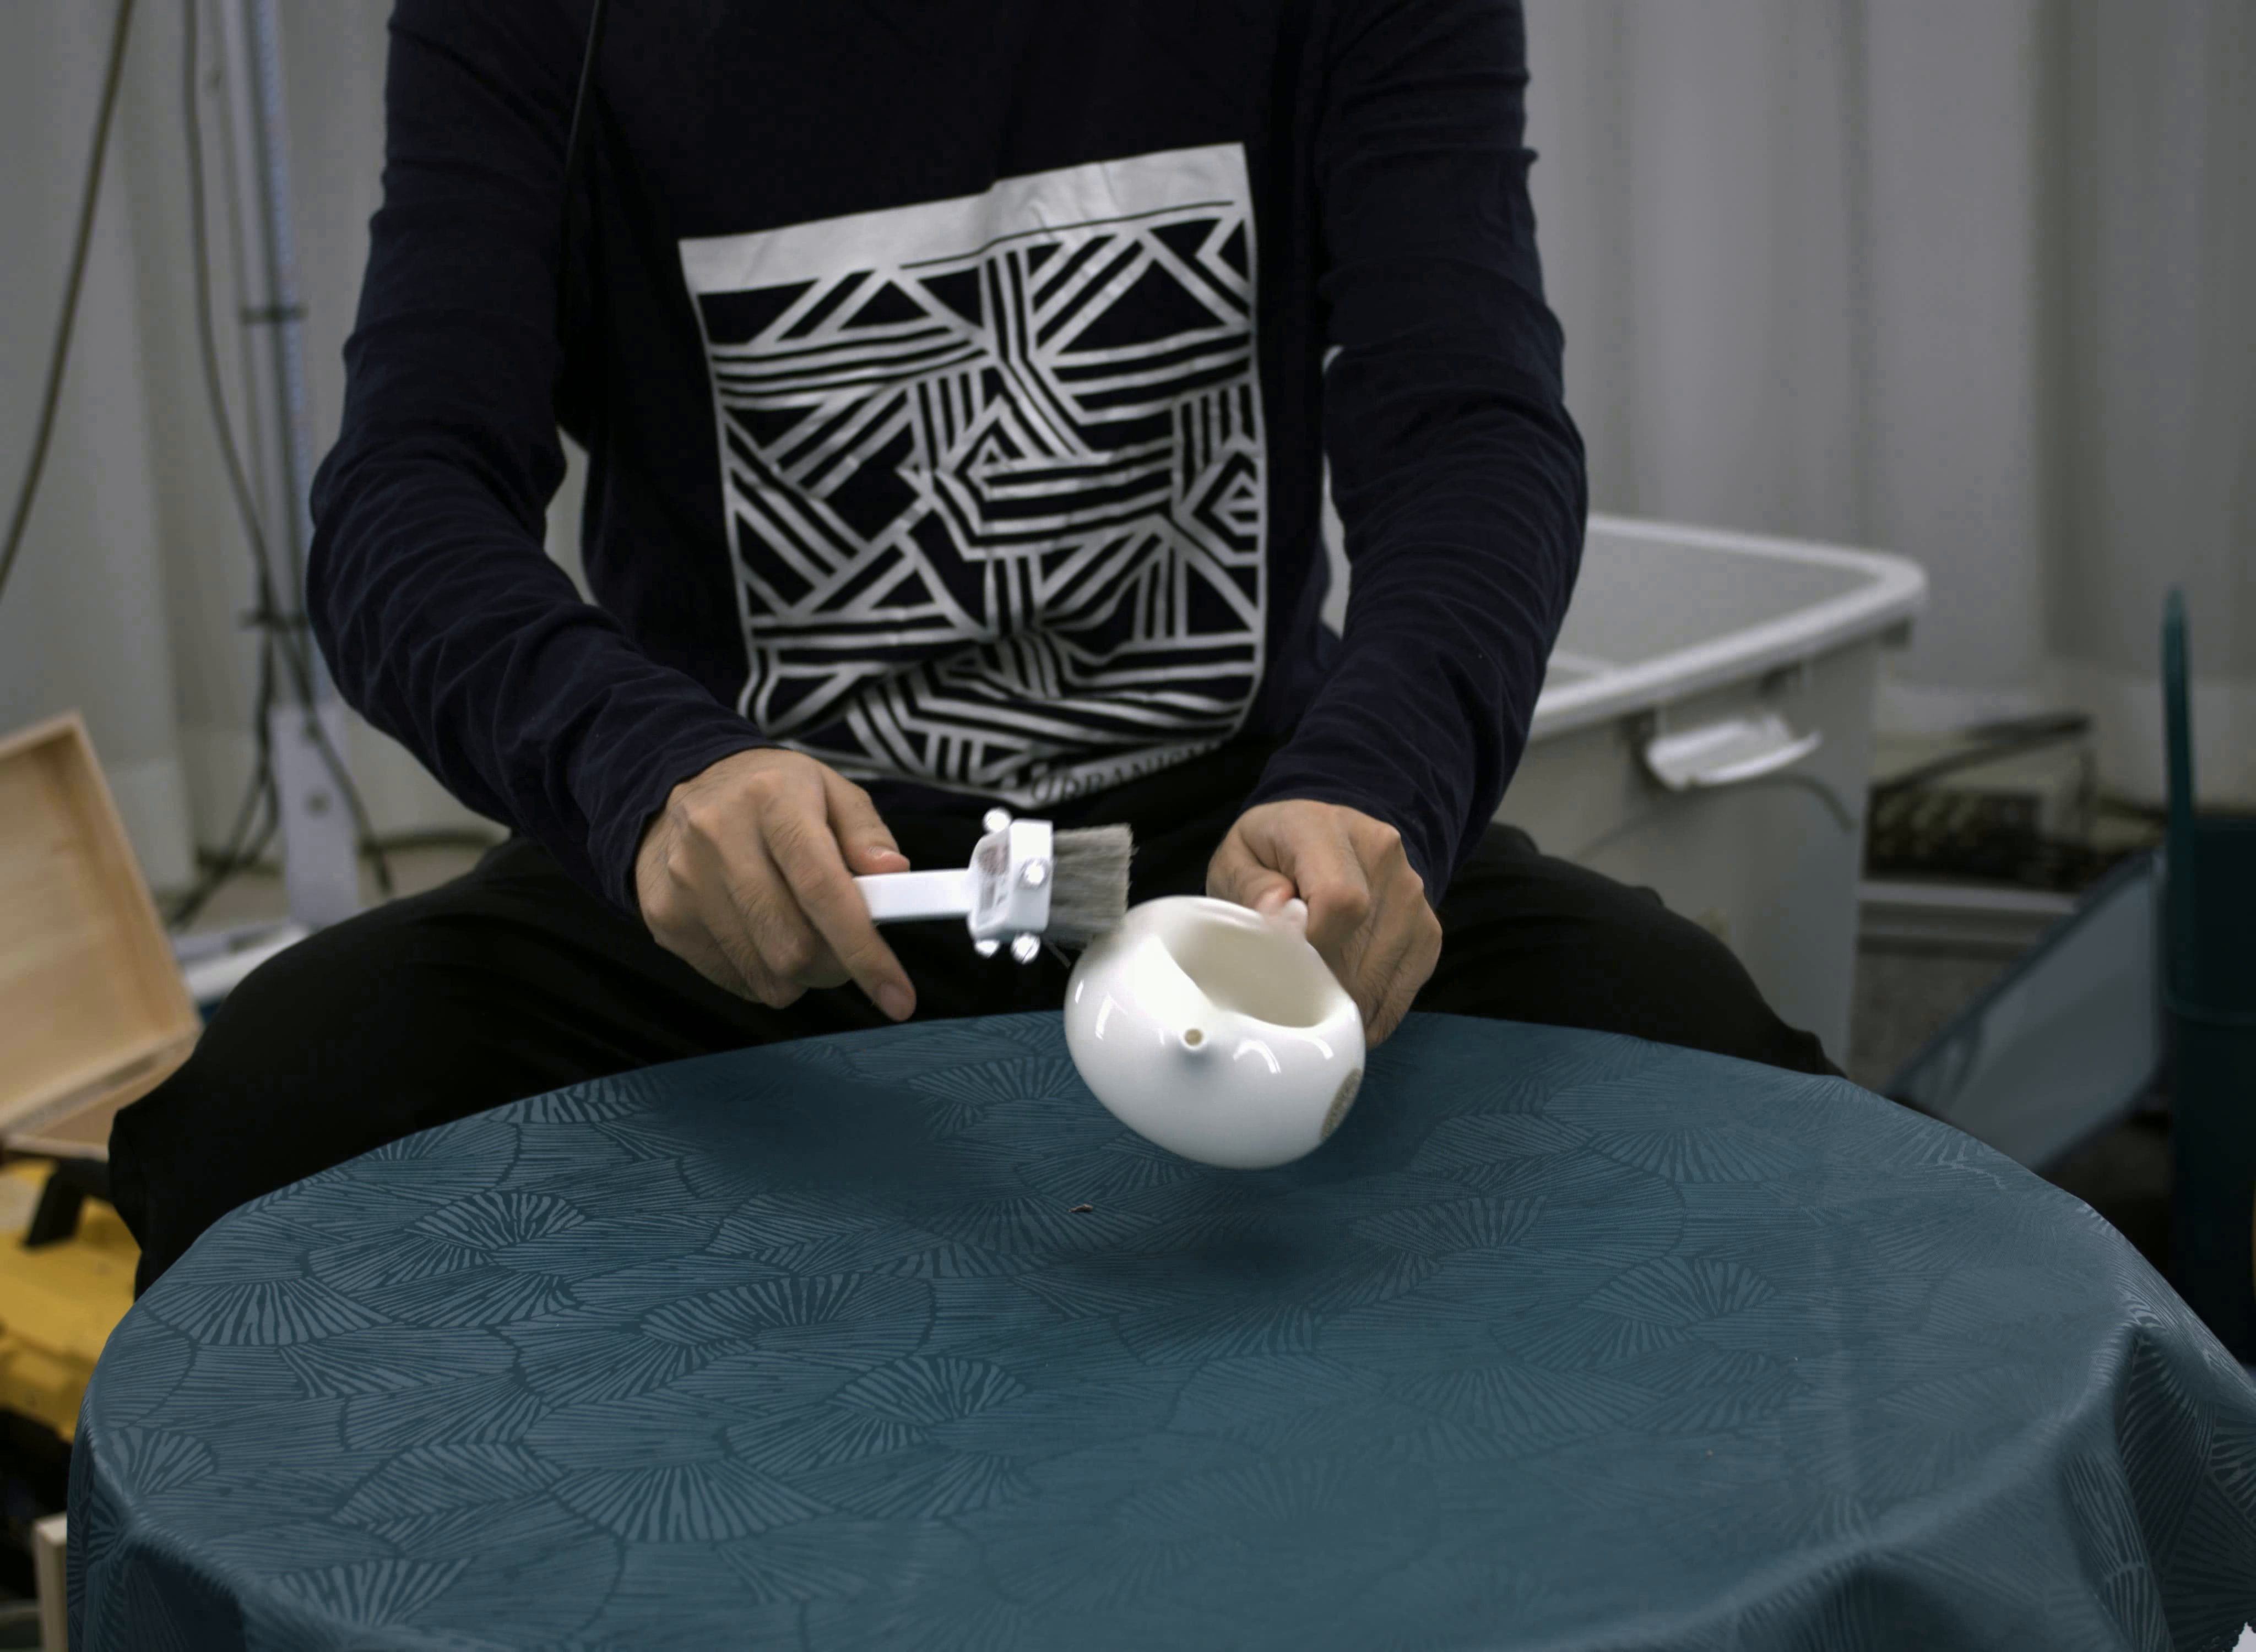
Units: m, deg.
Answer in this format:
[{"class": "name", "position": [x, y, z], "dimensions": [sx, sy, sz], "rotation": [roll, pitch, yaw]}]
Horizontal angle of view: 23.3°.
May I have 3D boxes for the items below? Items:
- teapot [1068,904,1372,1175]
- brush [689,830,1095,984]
[{"class": "teapot", "position": [0.030, 0.061, 1.653], "dimensions": [0.093, 0.056, 0.128], "rotation": [24, 26, 5]}, {"class": "brush", "position": [-0.072, 0.029, 1.715], "dimensions": [0.050, 0.034, 0.243], "rotation": [1, -7, -27]}]
